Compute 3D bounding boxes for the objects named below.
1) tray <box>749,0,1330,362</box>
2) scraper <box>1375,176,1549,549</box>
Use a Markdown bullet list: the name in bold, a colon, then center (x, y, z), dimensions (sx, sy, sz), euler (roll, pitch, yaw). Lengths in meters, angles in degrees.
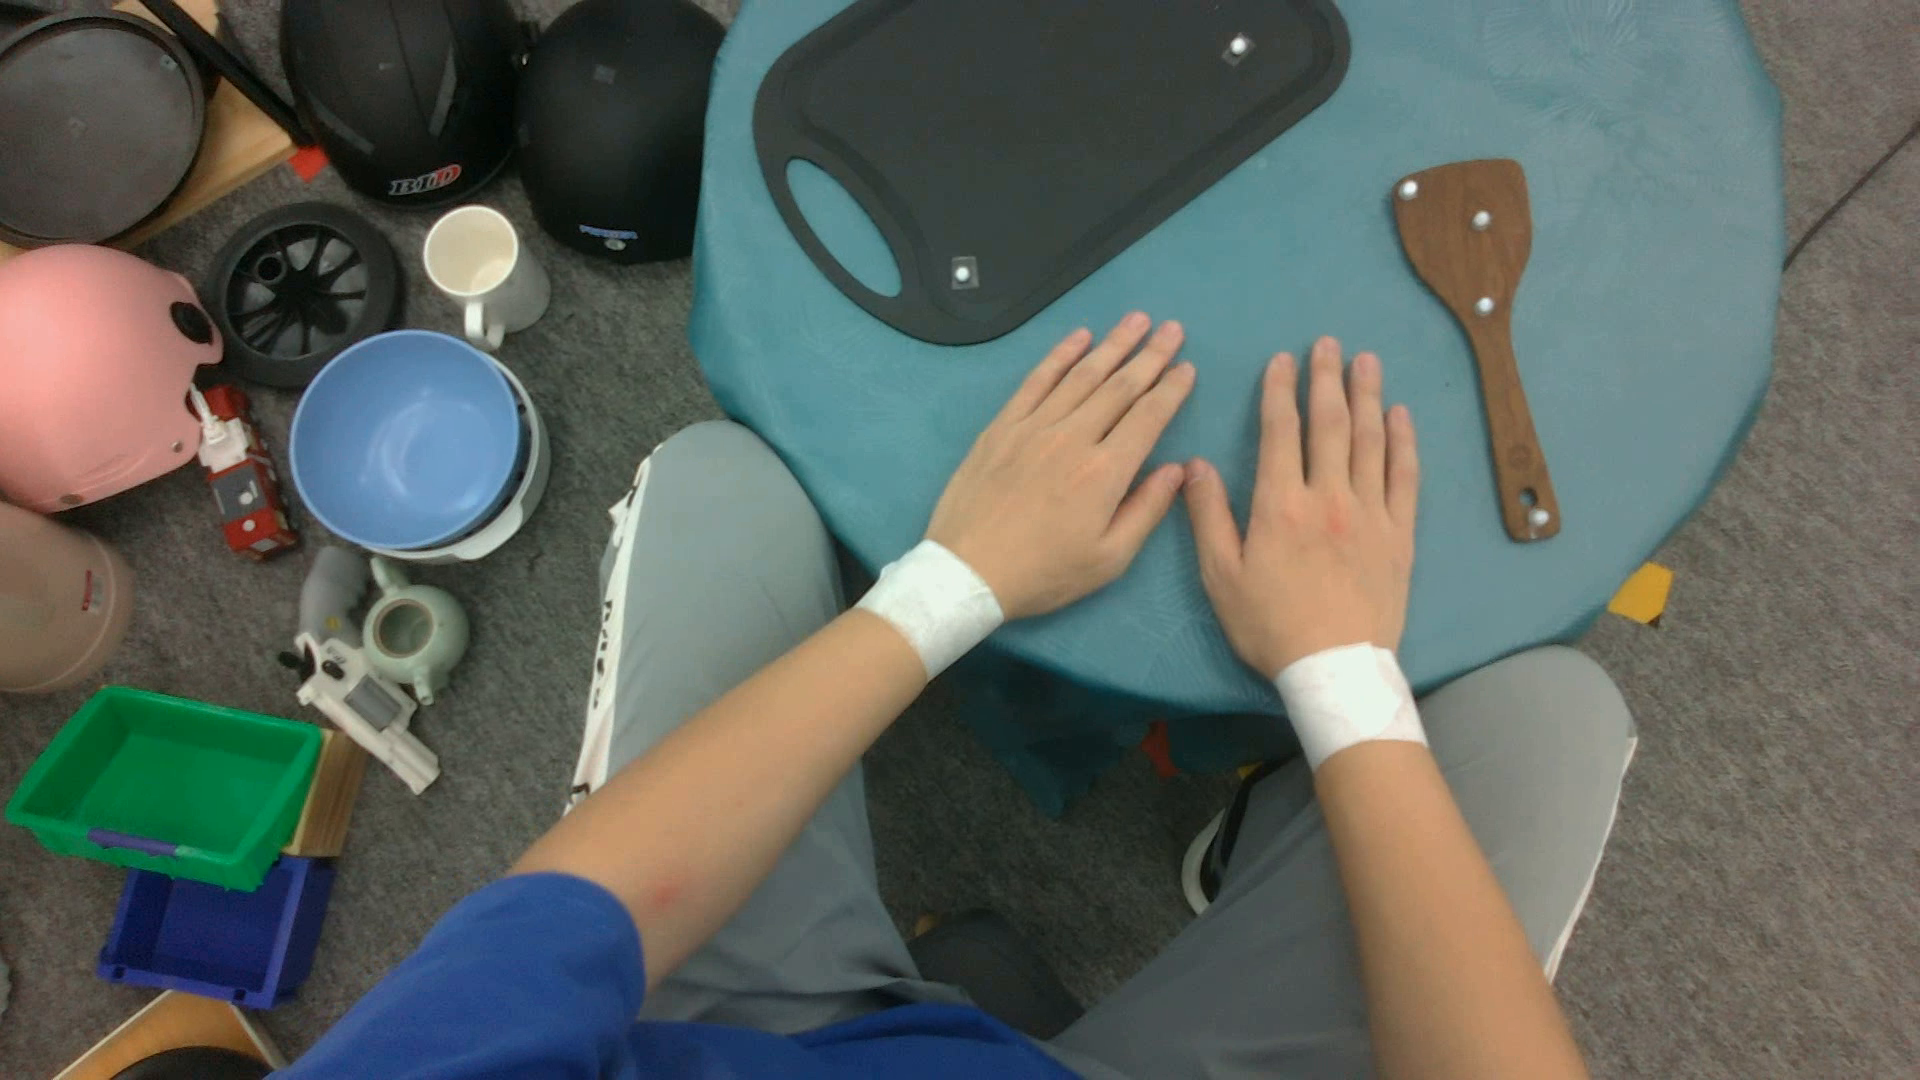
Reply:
- **tray**: center (0.040, -0.246, 0.789), dimensions (0.326, 0.010, 0.211), euler (-37, 79, -7)
- **scraper**: center (0.283, -0.098, 0.750), dimensions (0.076, 0.011, 0.211), euler (-9, 78, 0)
